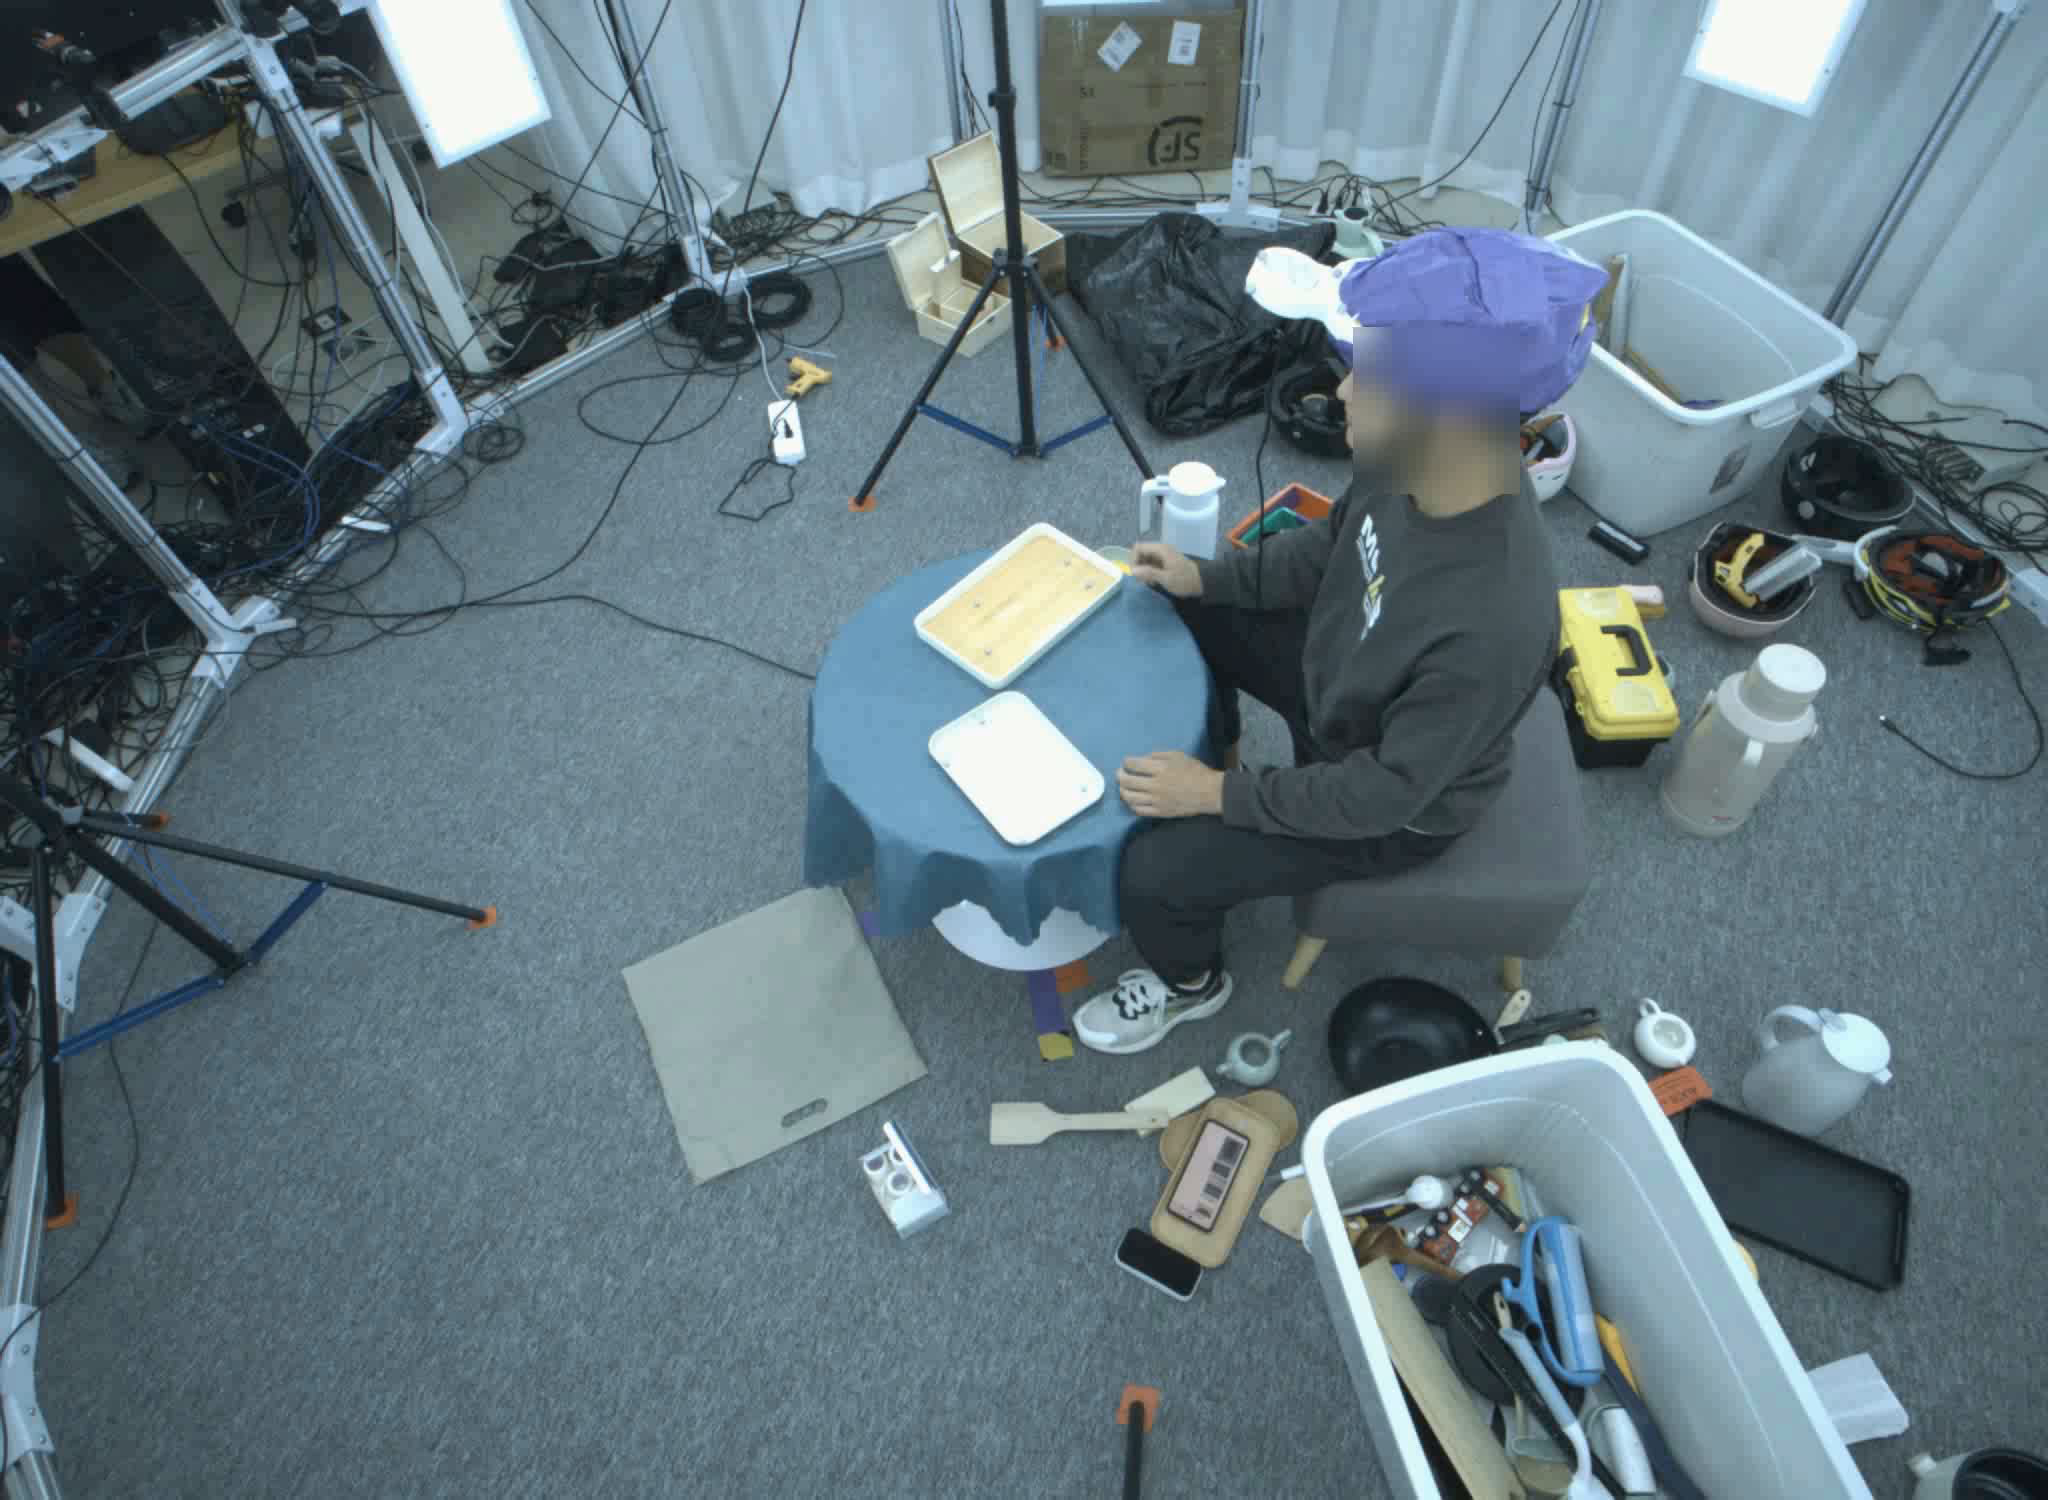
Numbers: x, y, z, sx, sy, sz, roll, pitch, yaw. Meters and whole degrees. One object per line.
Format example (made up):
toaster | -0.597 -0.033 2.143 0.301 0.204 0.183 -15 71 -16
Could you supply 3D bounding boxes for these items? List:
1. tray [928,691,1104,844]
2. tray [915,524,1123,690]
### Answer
tray | -0.013 0.023 1.758 0.173 0.017 0.235 -32 60 -20
tray | -0.006 -0.231 1.933 0.188 0.028 0.302 37 63 24
